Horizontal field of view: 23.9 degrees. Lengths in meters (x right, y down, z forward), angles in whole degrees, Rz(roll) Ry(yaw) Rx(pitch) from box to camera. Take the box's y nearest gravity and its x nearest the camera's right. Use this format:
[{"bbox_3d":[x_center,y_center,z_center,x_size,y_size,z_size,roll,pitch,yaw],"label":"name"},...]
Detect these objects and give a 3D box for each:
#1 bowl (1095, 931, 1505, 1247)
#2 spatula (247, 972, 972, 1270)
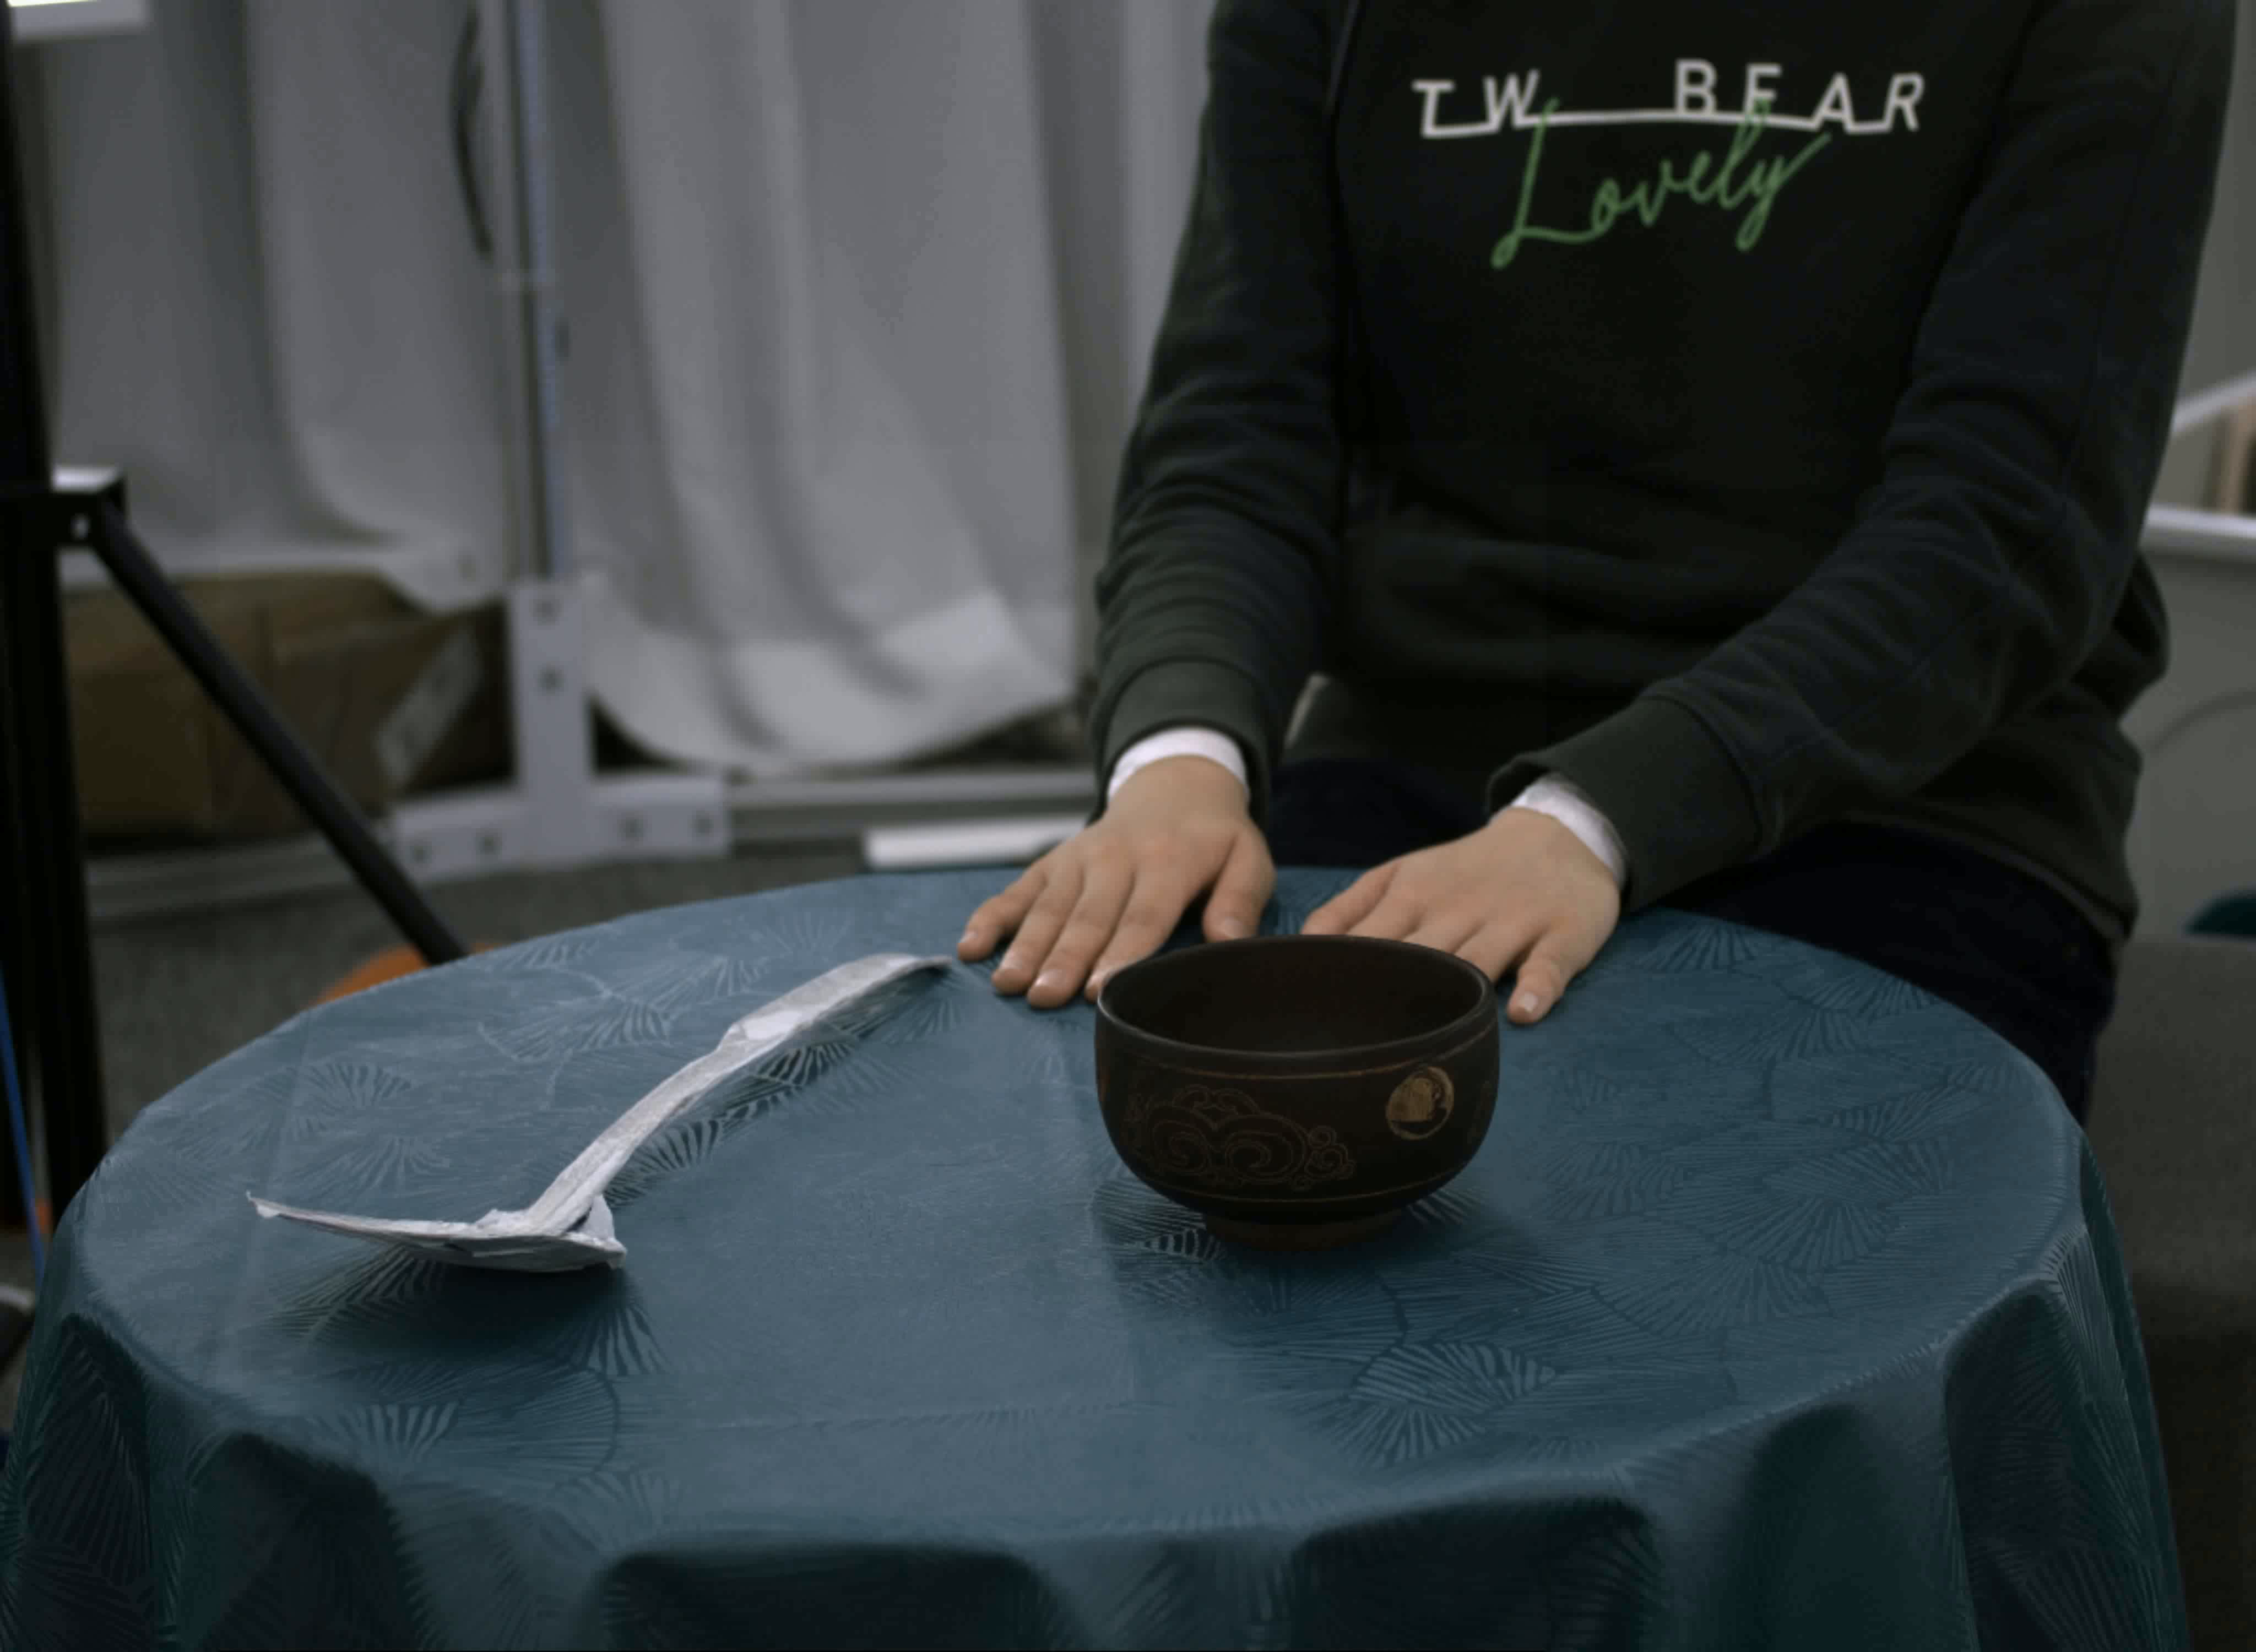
[{"bbox_3d":[0.049,0.079,1.521,0.117,0.070,0.118,-1,15,-1],"label":"bowl"},{"bbox_3d":[-0.135,0.079,1.612,0.100,0.045,0.360,2,17,24],"label":"spatula"}]
